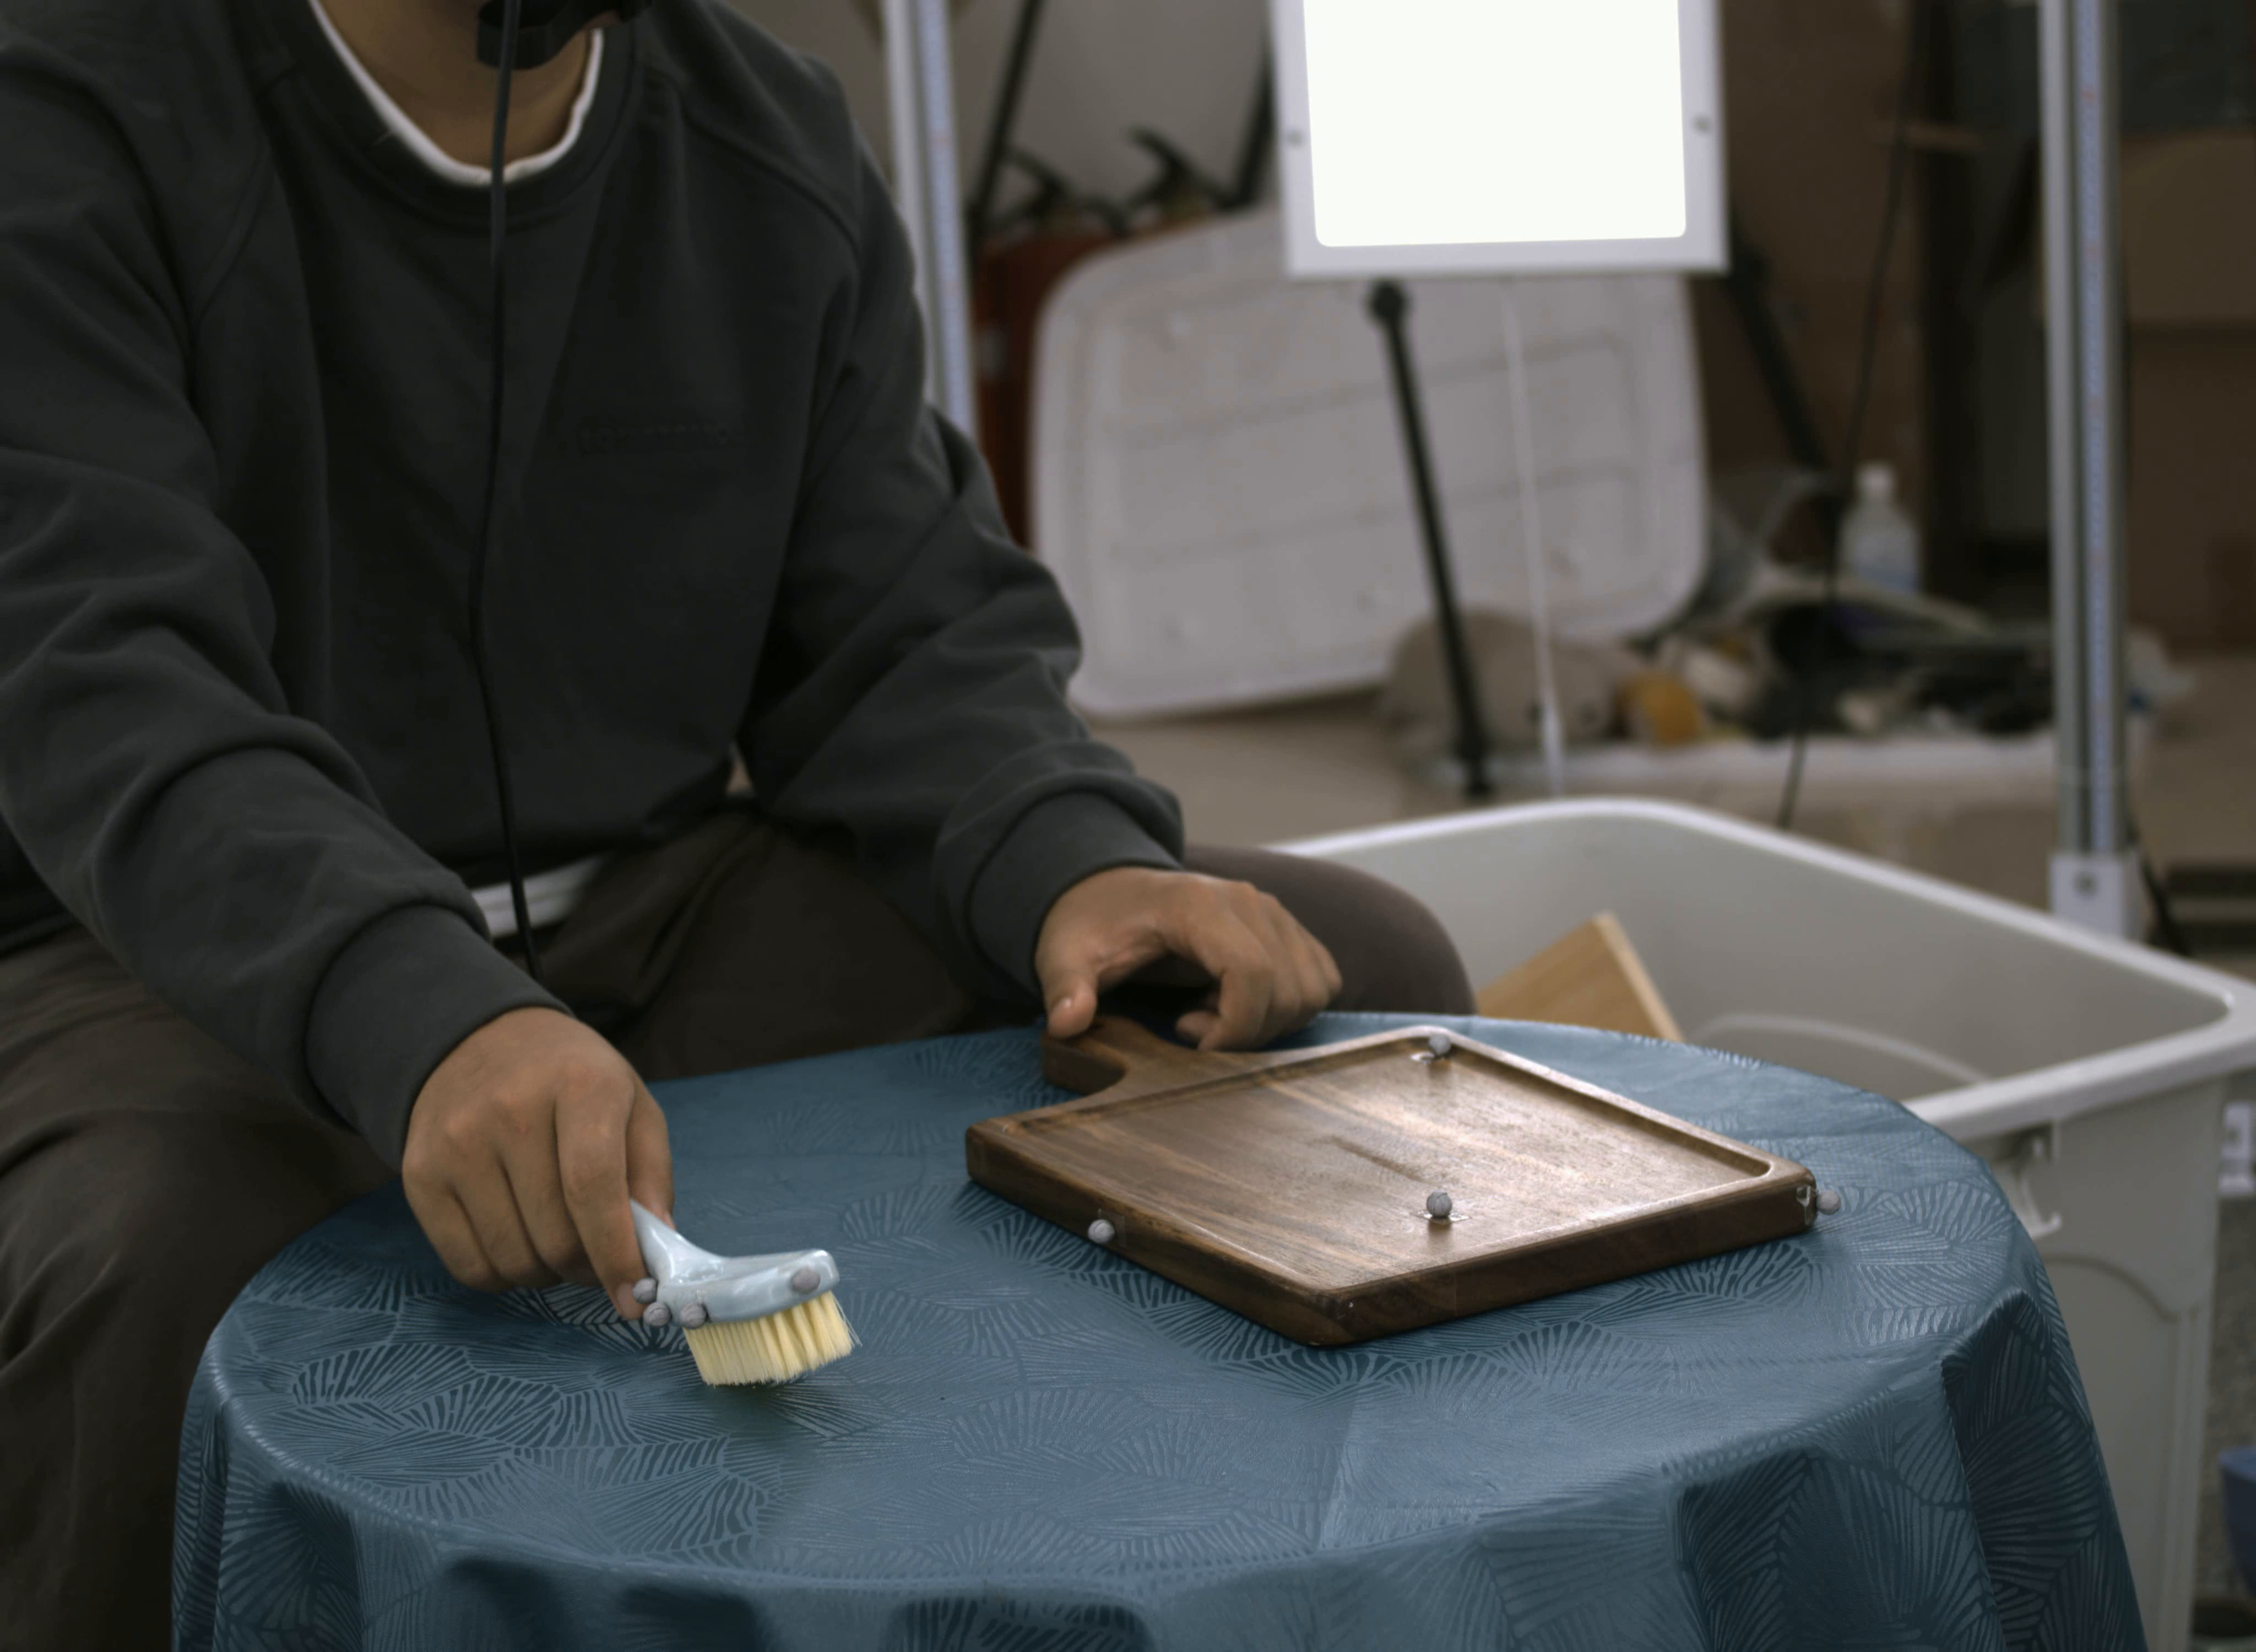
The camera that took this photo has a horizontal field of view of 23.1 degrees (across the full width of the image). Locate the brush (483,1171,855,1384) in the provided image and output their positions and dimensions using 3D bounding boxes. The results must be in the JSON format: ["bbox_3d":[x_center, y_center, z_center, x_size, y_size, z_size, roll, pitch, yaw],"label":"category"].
[{"bbox_3d":[-0.153,0.146,1.783,0.037,0.050,0.233,-20,15,-29],"label":"brush"}]

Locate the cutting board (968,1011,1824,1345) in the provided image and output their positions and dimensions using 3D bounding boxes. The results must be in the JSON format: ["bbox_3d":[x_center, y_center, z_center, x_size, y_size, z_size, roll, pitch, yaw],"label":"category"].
[{"bbox_3d":[0.063,0.109,1.906,0.197,0.023,0.358,-11,15,-26],"label":"cutting board"}]
